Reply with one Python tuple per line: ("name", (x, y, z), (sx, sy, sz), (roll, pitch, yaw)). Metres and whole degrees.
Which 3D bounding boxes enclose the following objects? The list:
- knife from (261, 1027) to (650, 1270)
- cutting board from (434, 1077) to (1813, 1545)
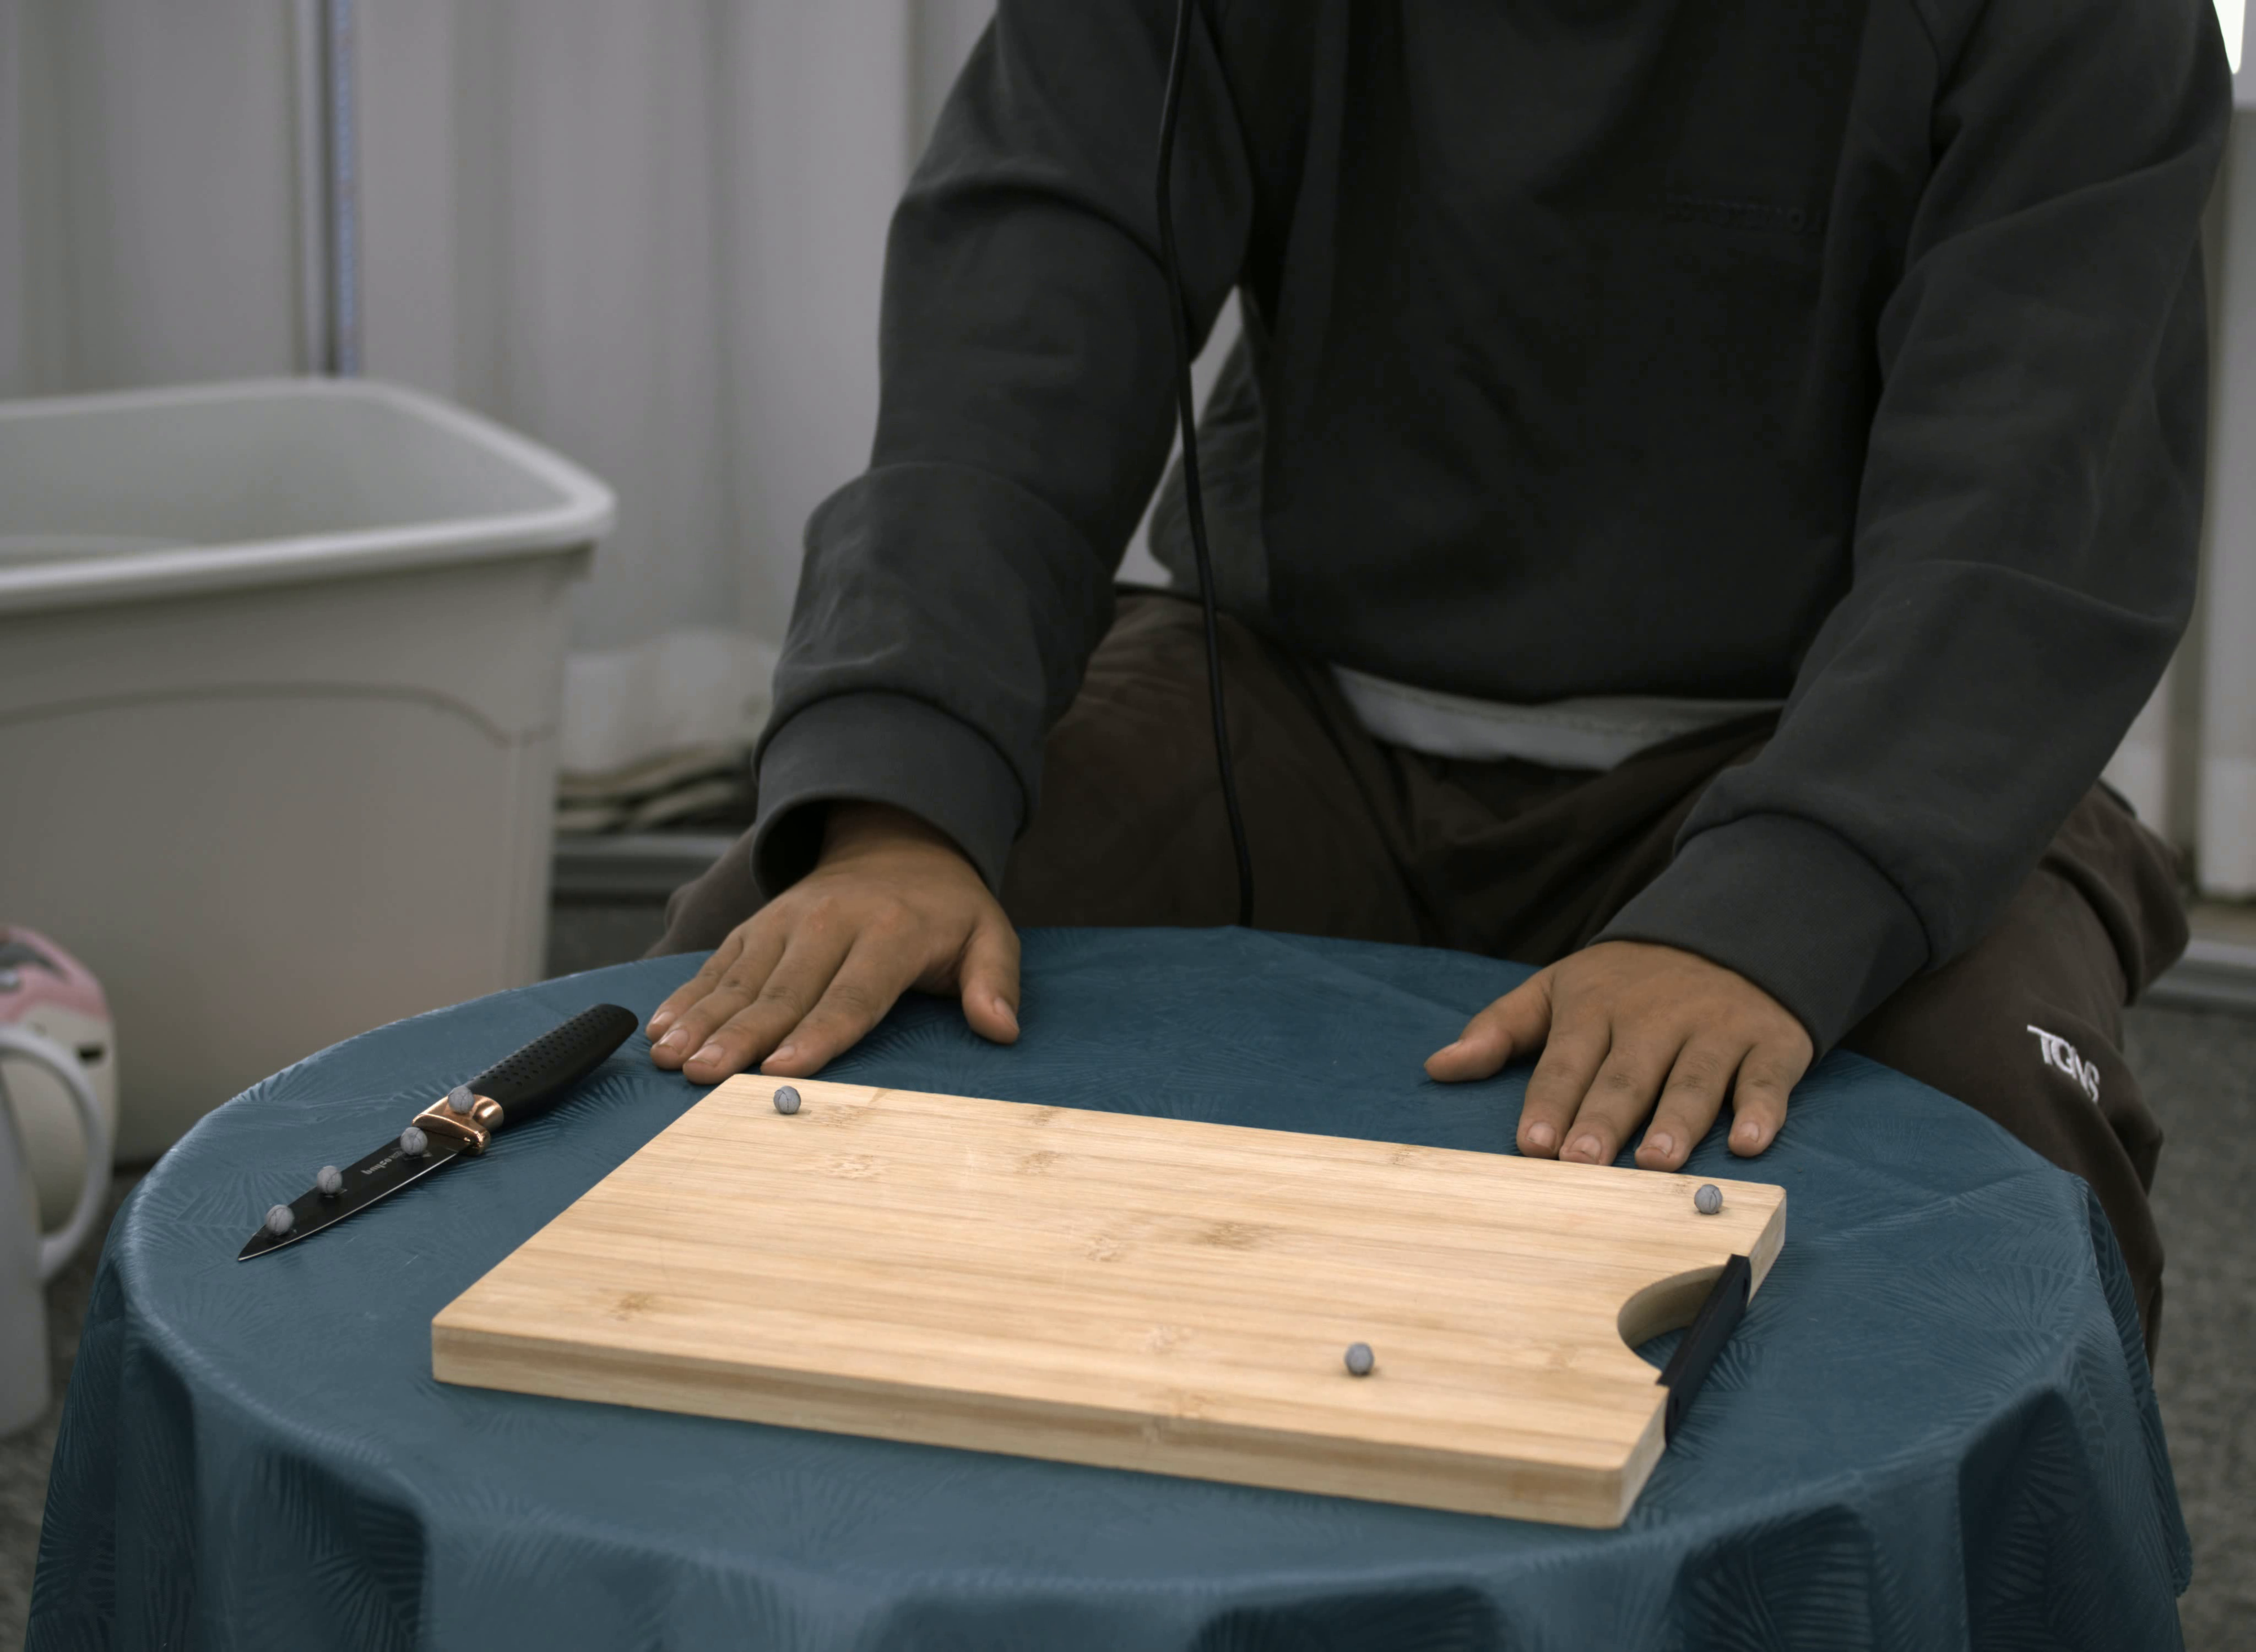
("knife", (-0.211, 0.100, 1.643), (0.026, 0.017, 0.226), (13, 20, 22))
("cutting board", (0.007, 0.133, 1.522), (0.346, 0.024, 0.250), (5, 16, 15))
